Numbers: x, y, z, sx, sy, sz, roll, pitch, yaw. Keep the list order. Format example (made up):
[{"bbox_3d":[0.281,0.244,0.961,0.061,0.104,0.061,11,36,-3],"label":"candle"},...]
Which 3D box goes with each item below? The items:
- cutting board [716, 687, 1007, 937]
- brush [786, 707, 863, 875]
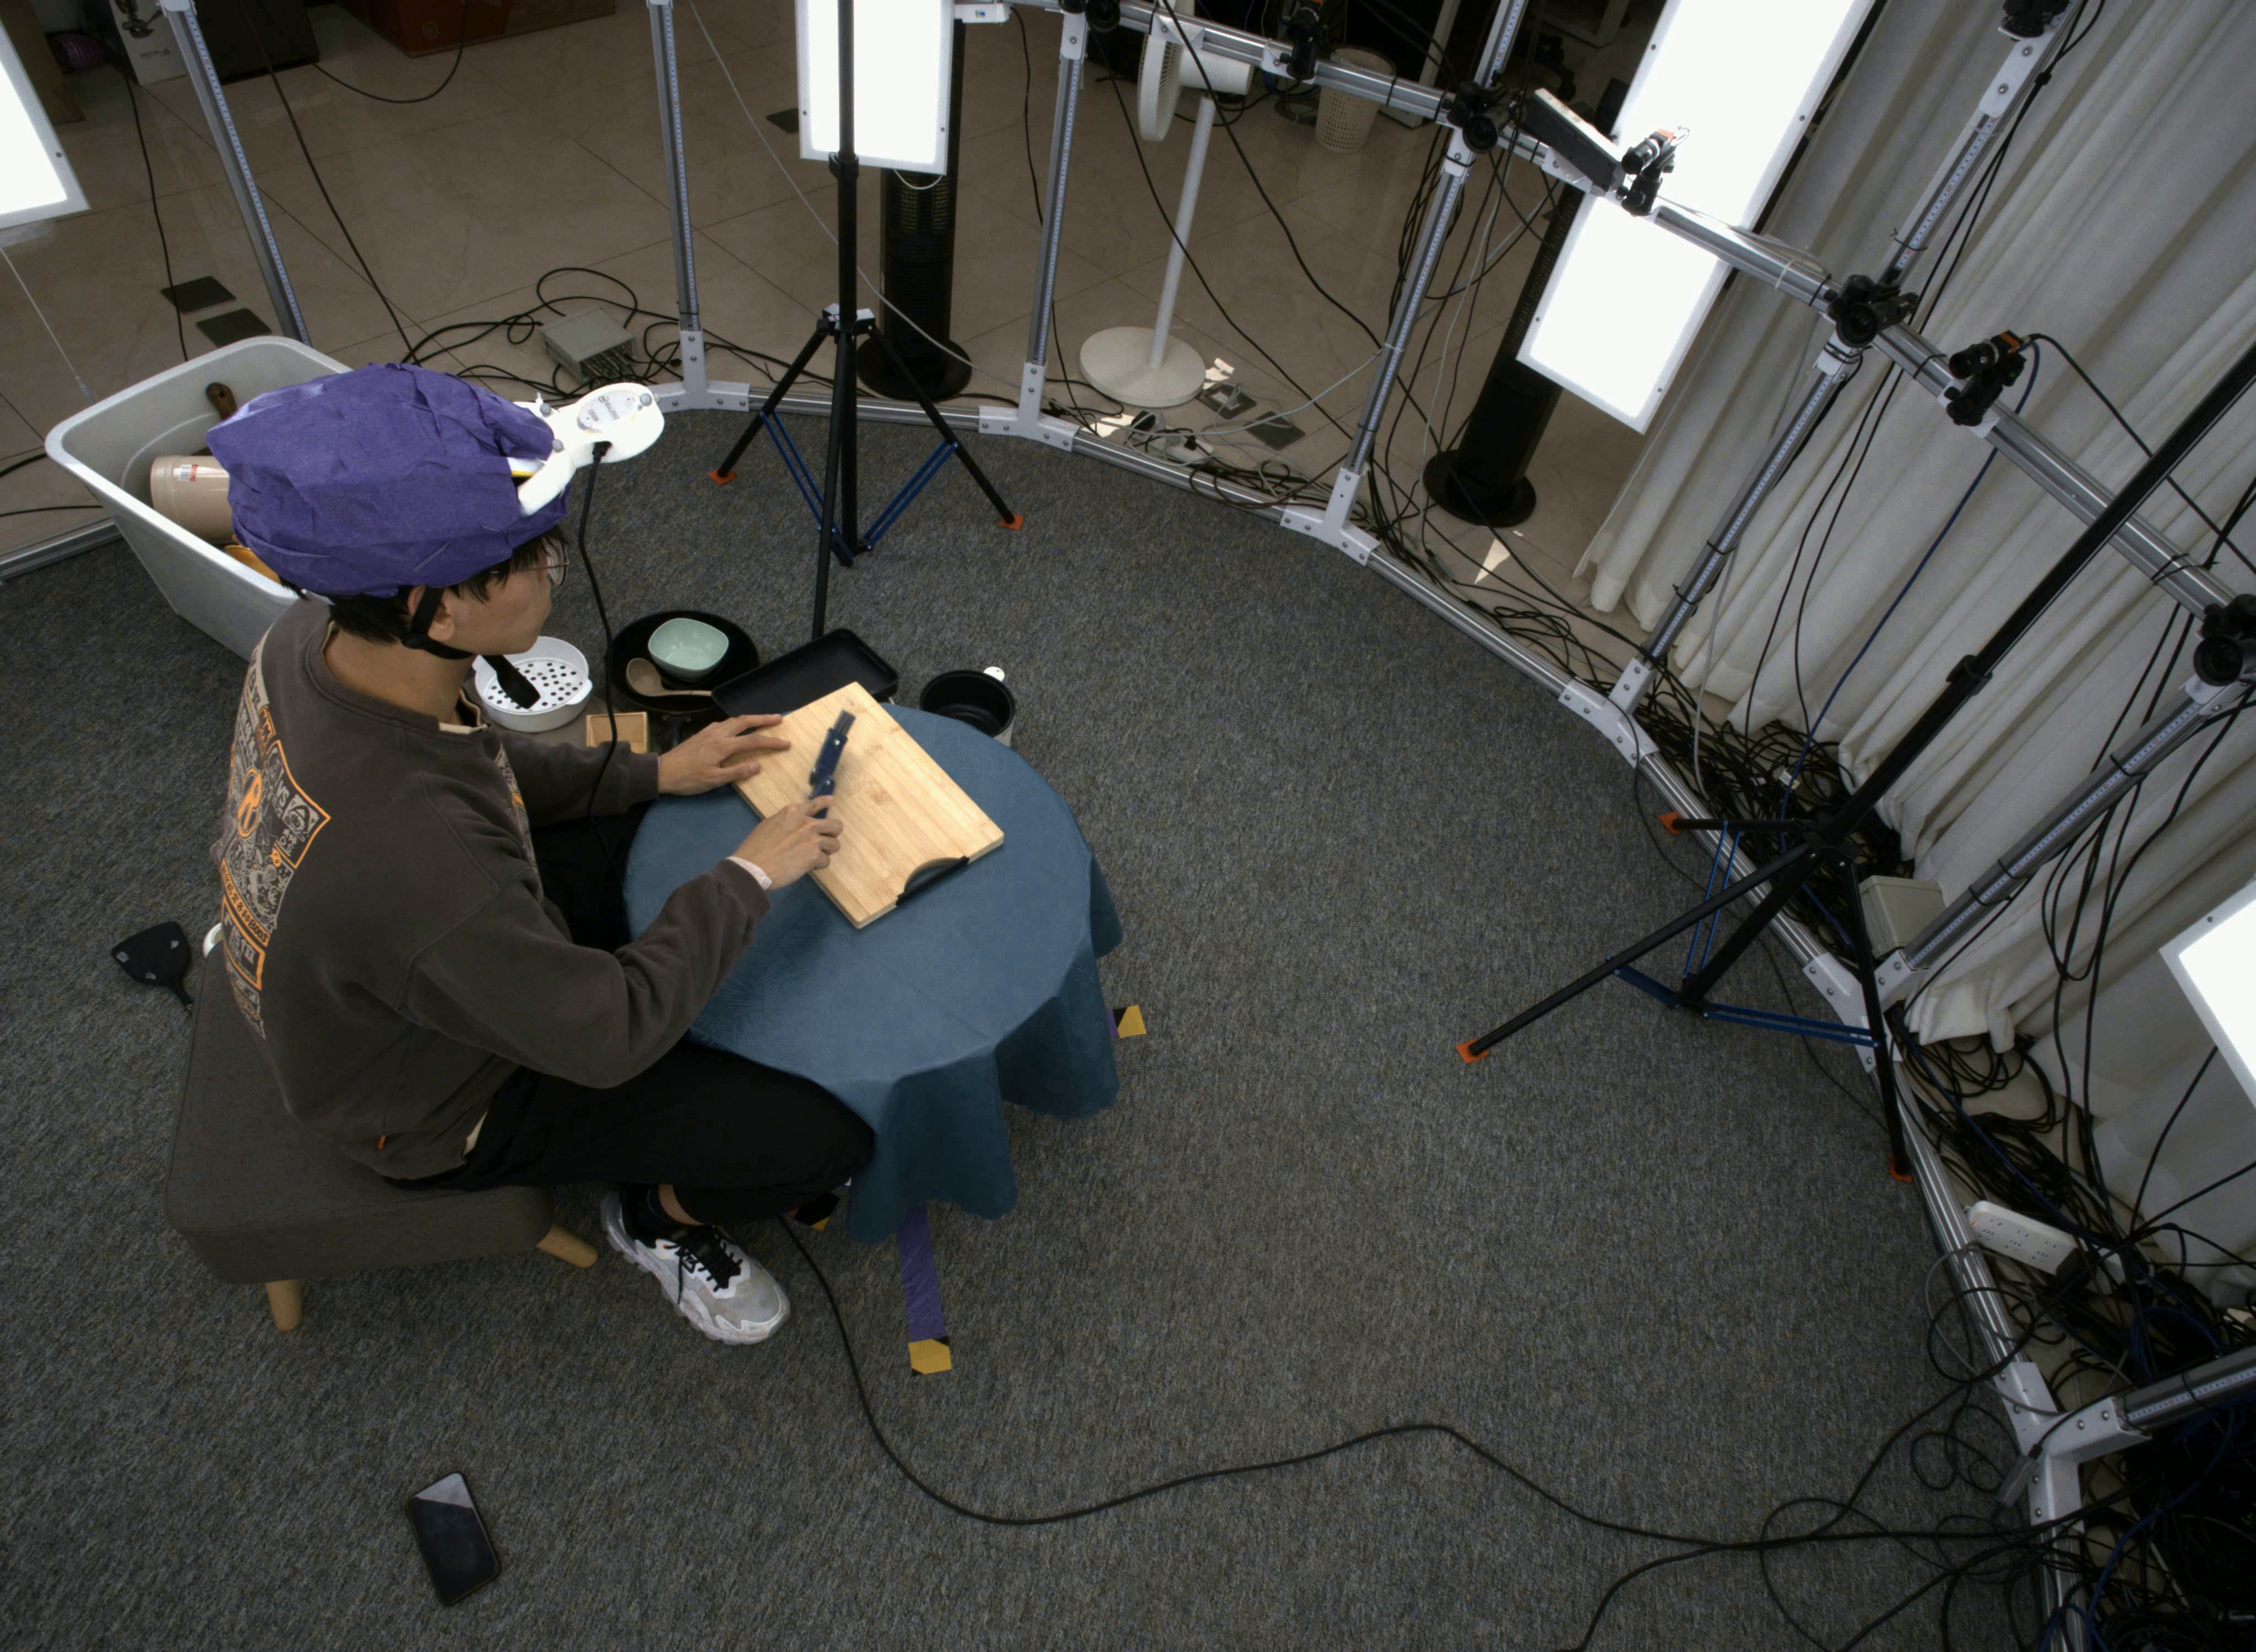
[{"bbox_3d":[-0.363,-0.033,1.767,0.251,0.024,0.340,-35,68,-31],"label":"cutting board"},{"bbox_3d":[-0.389,-0.049,1.662,0.034,0.095,0.266,33,28,-26],"label":"brush"}]
